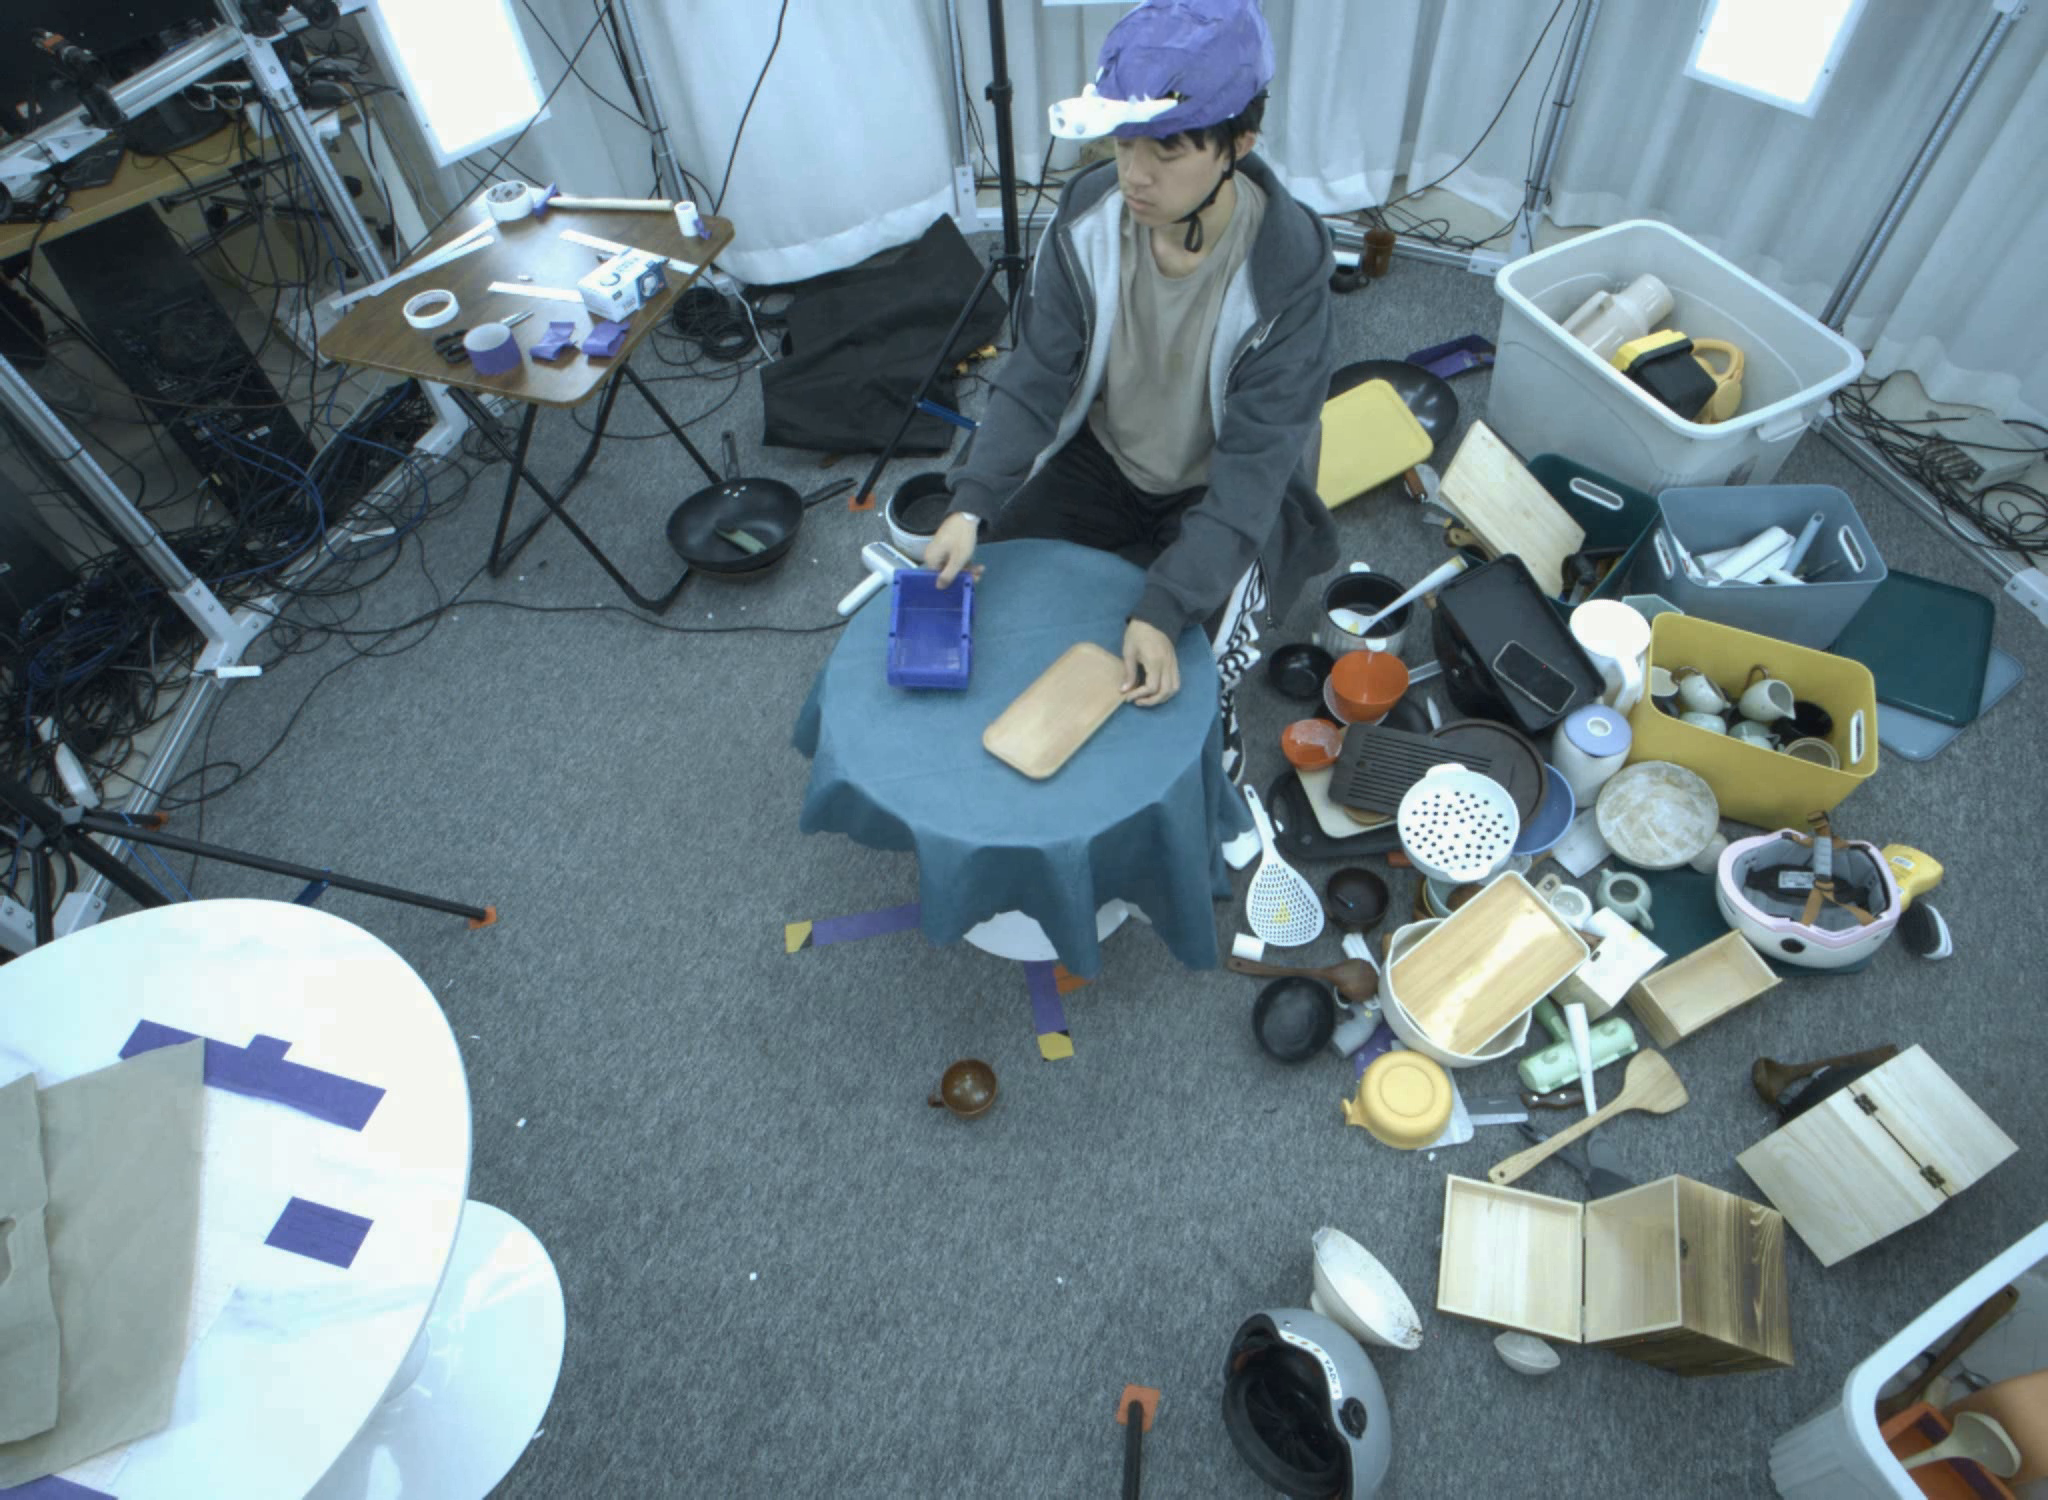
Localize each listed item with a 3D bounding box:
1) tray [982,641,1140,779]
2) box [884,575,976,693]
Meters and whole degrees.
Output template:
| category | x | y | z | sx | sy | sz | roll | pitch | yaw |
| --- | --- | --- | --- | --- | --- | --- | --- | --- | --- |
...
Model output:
| category | x | y | z | sx | sy | sz | roll | pitch | yaw |
| --- | --- | --- | --- | --- | --- | --- | --- | --- | --- |
| tray | 0.057 | -0.061 | 1.821 | 0.128 | 0.023 | 0.252 | 35 | 62 | 21 |
| box | -0.141 | -0.172 | 1.859 | 0.125 | 0.082 | 0.177 | 4 | 53 | -1 |
